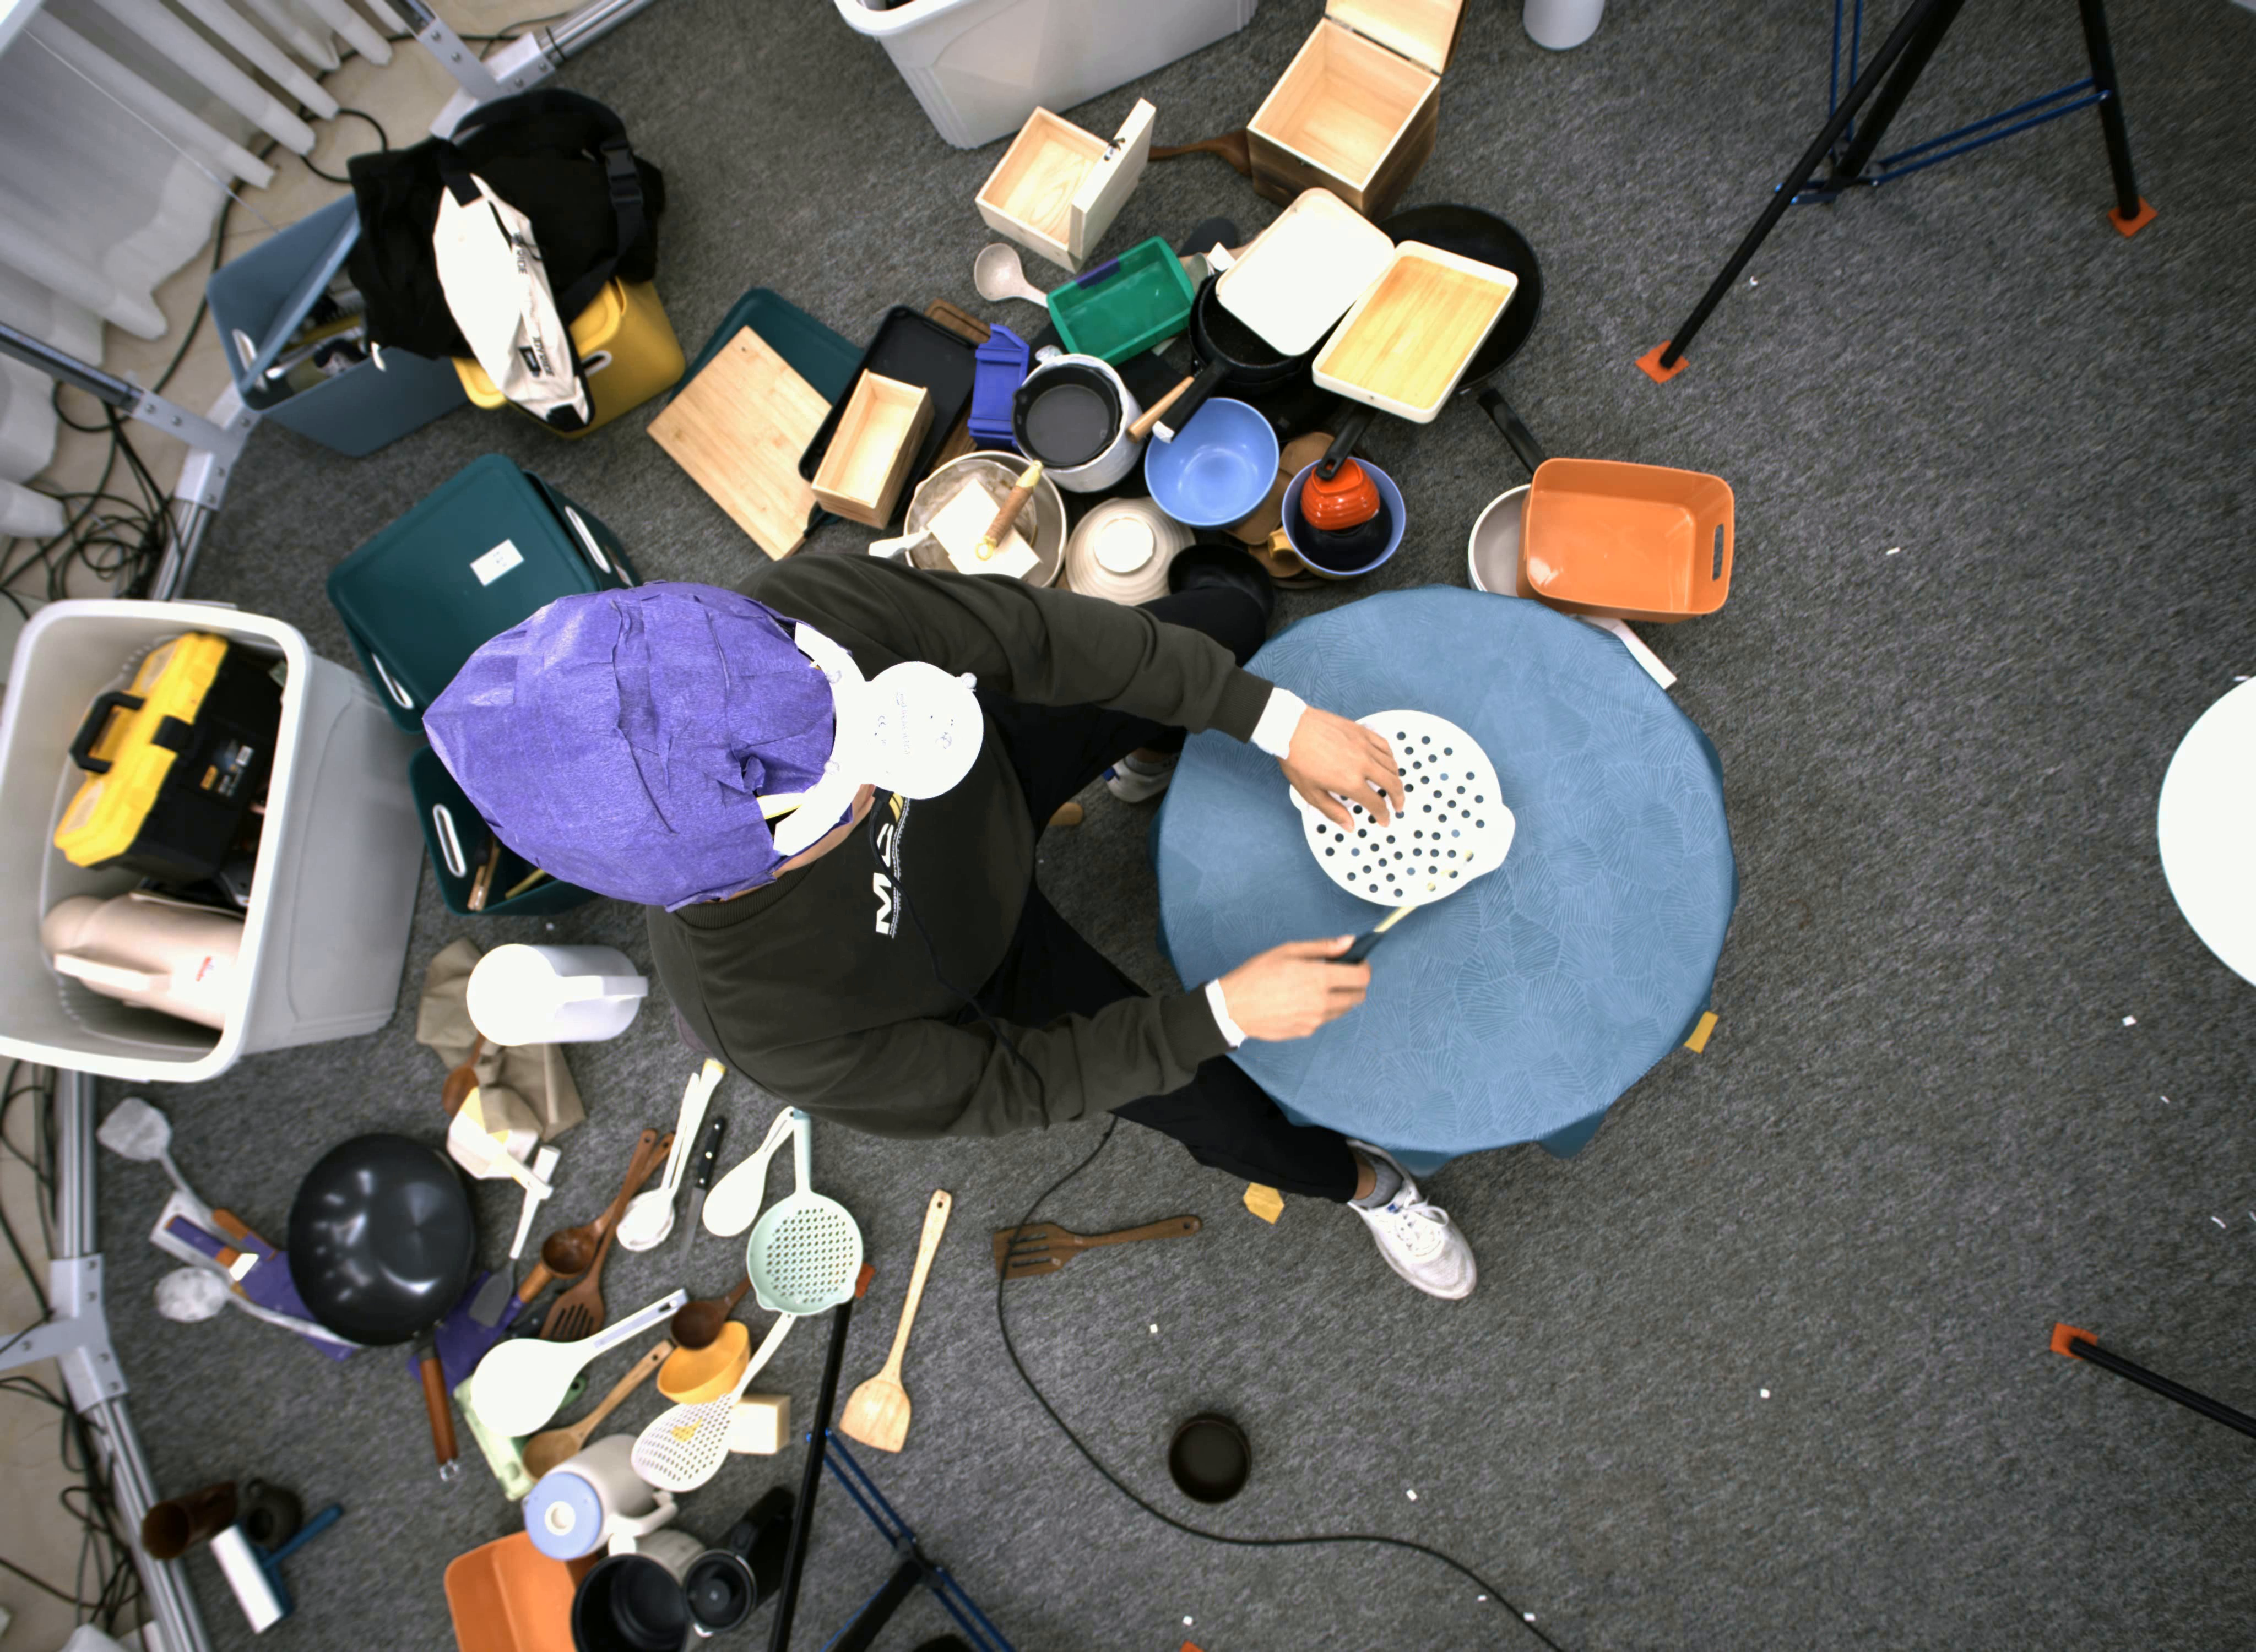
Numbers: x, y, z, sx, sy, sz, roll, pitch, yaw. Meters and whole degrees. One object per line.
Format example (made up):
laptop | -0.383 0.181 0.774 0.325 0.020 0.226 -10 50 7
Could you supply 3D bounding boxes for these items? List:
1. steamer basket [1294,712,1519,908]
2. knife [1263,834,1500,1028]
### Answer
steamer basket | 0.287 -0.016 1.428 0.230 0.069 0.201 20 90 12
knife | 0.246 0.098 1.333 0.291 0.081 0.027 -39 81 6
